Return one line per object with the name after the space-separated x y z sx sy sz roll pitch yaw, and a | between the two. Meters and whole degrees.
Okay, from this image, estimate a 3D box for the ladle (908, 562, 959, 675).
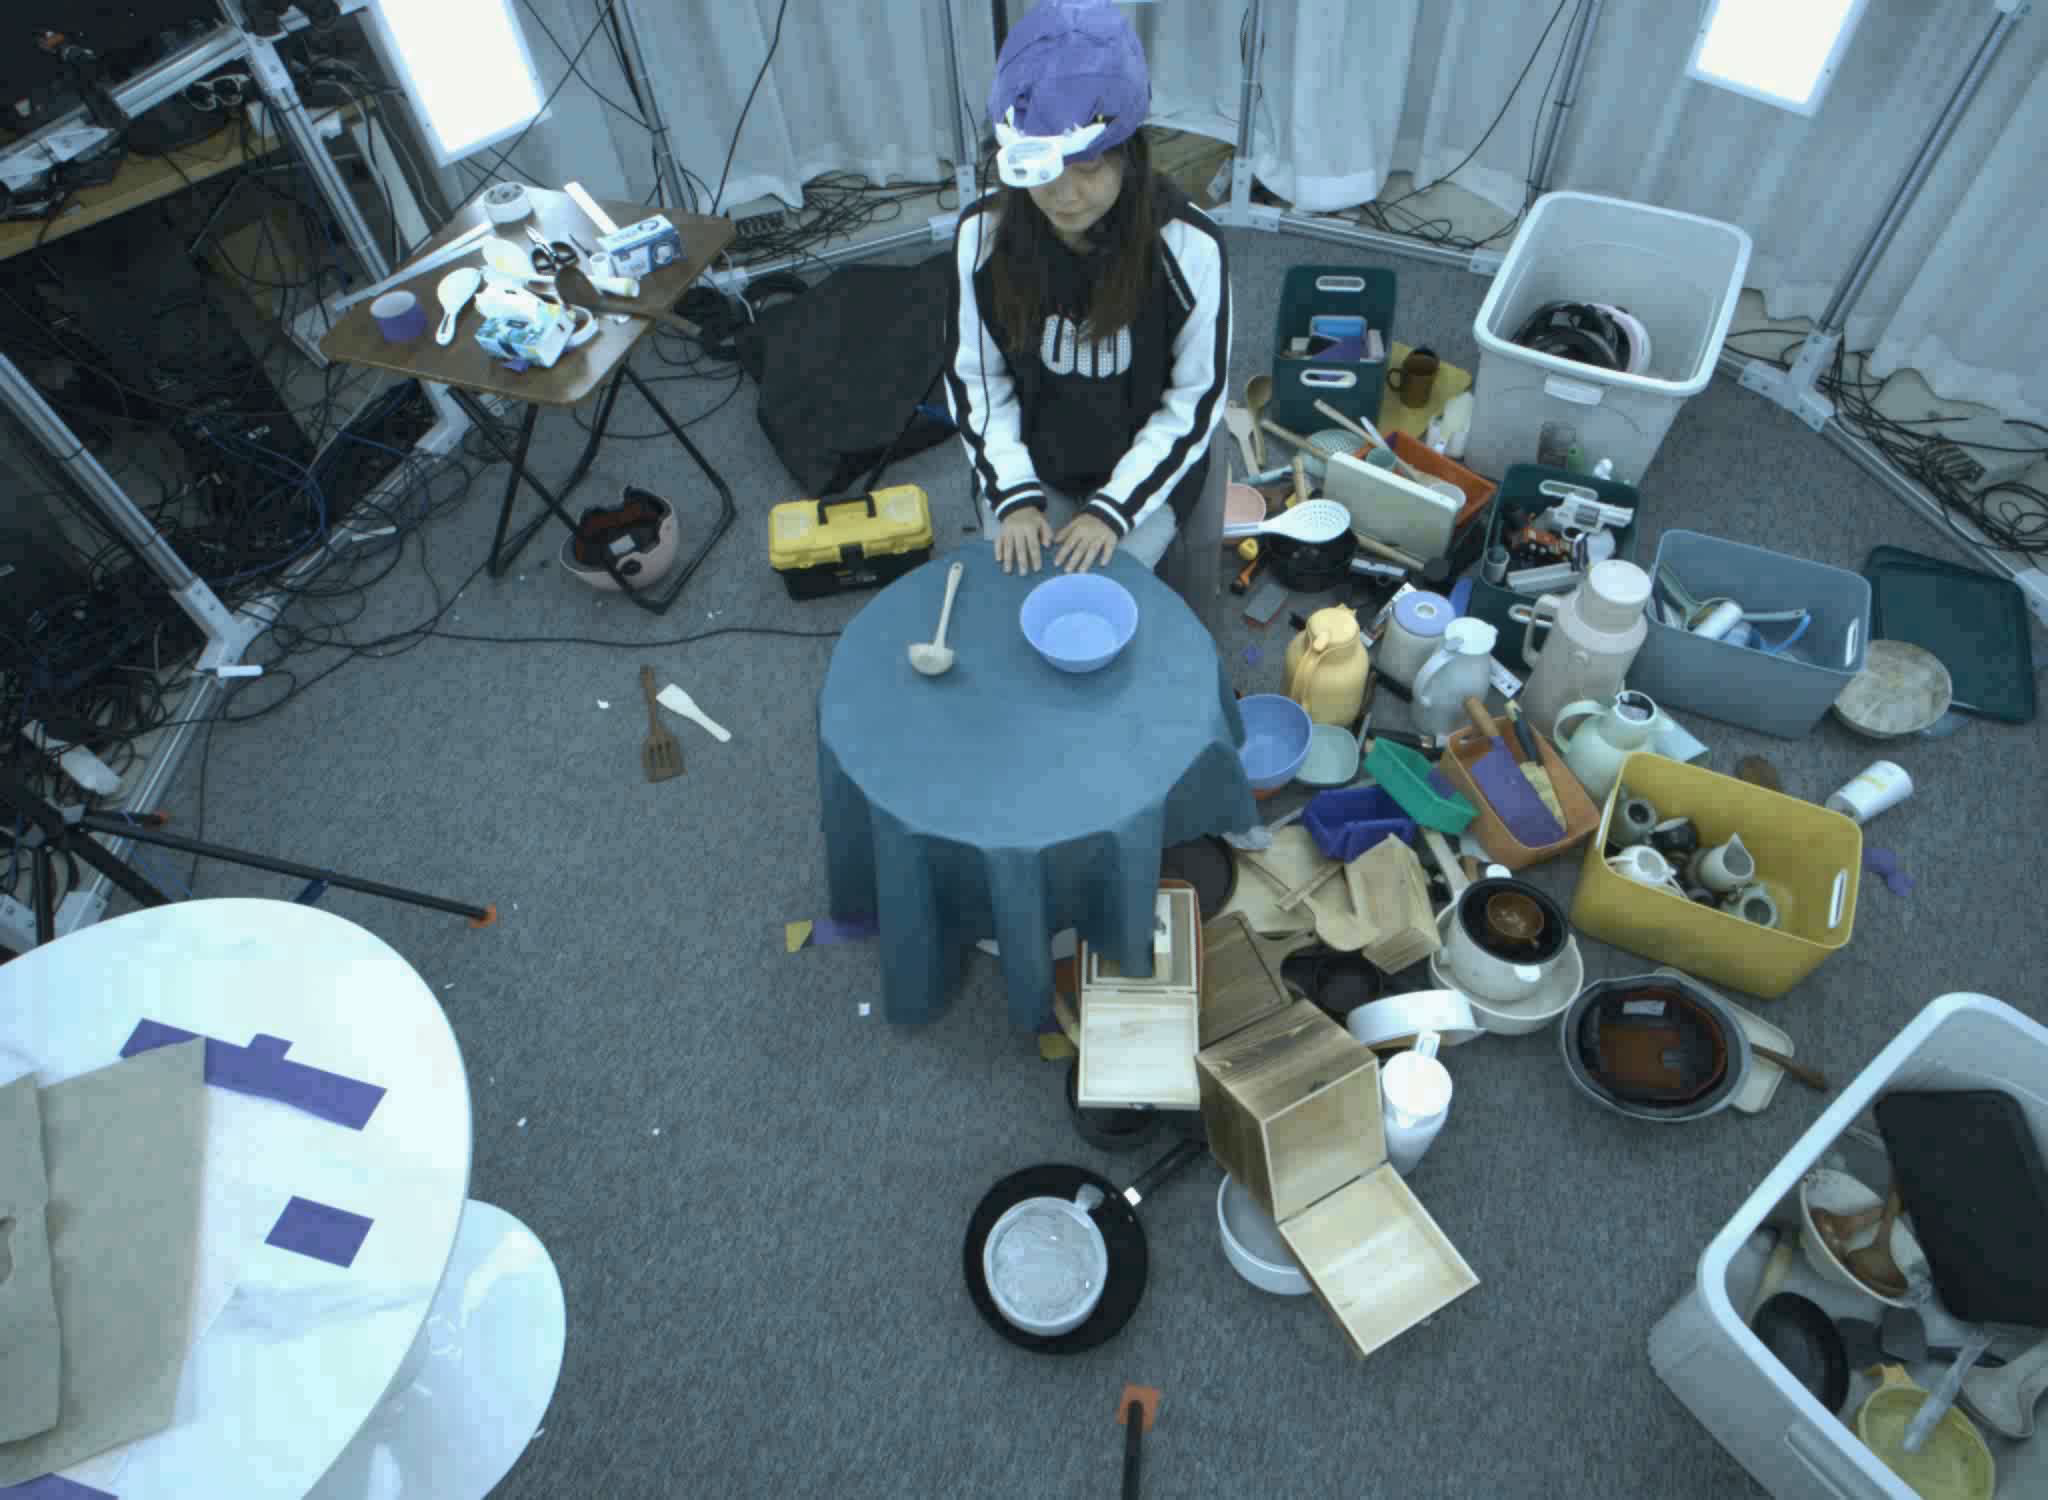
-0.129 -0.226 1.907 0.072 0.073 0.252 4 55 4 | ladle

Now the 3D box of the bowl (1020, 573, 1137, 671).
0.082 -0.184 1.872 0.176 0.071 0.174 0 55 1 | bowl
